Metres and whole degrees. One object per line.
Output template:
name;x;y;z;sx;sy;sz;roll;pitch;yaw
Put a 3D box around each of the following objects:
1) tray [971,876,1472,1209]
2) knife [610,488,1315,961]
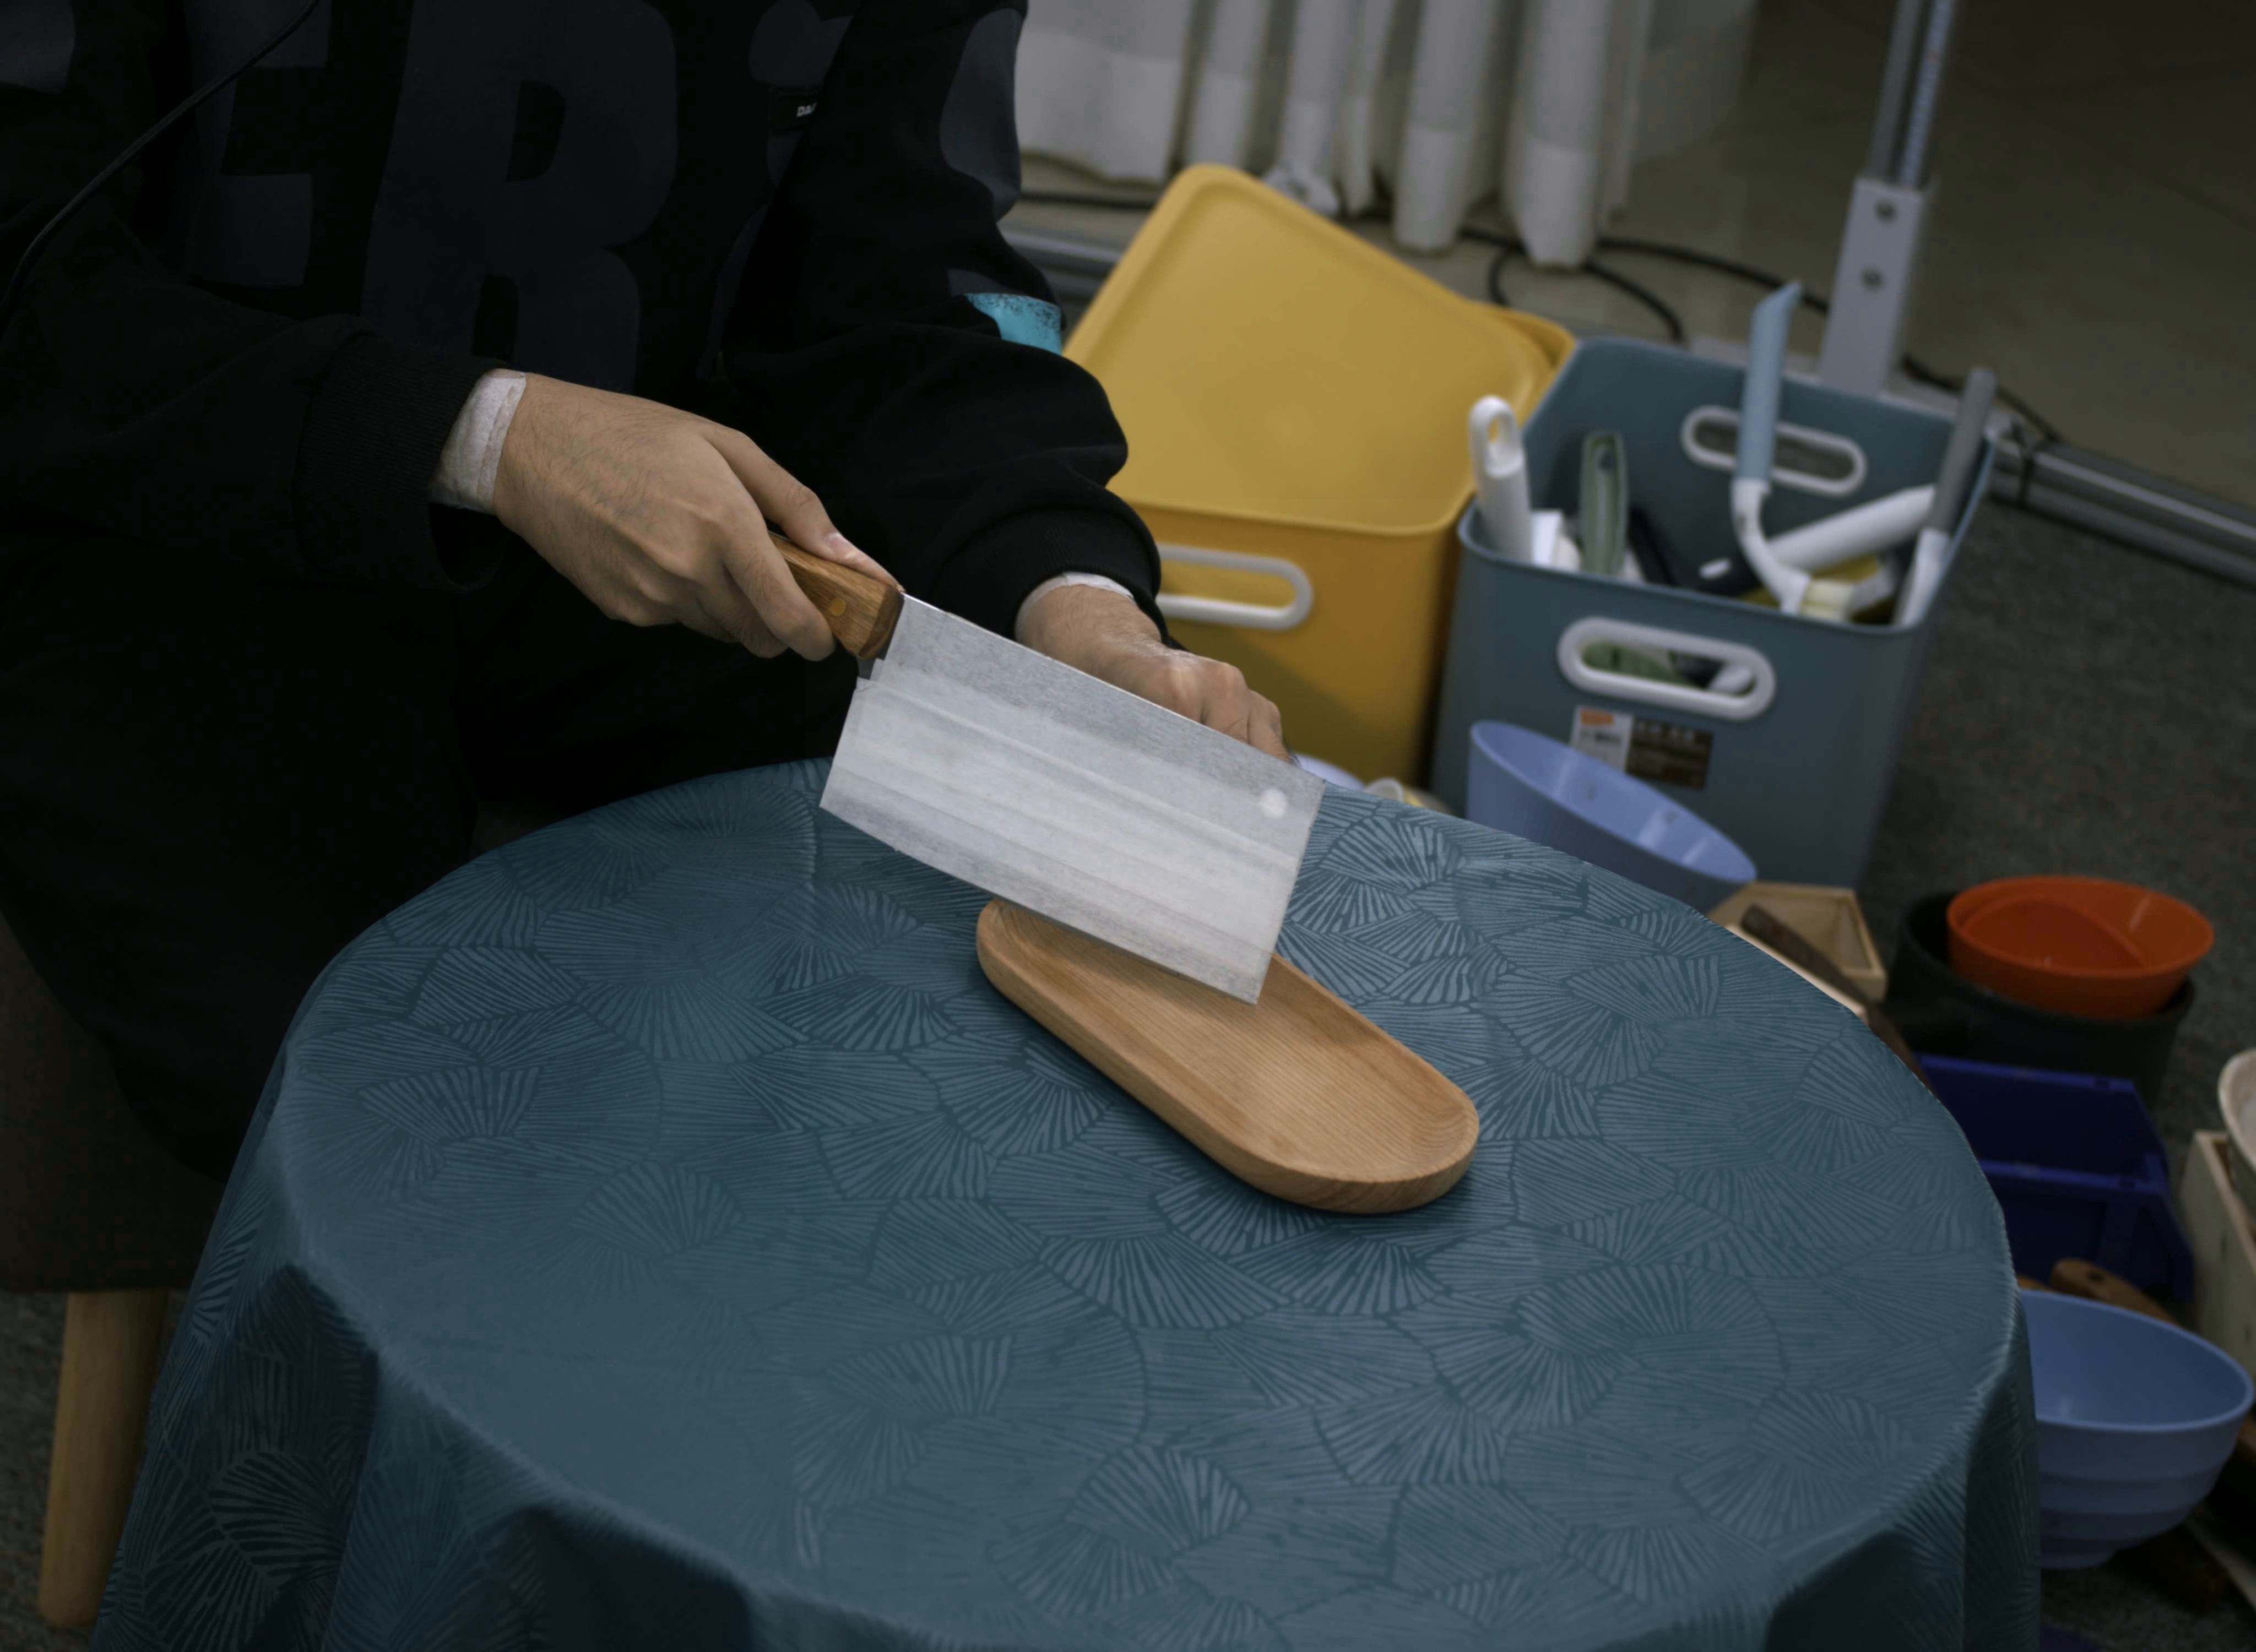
tray;0.031;0.074;1.887;0.101;0.020;0.233;-11;31;-35
knife;-0.070;-0.034;1.938;0.307;0.093;0.021;24;19;24
